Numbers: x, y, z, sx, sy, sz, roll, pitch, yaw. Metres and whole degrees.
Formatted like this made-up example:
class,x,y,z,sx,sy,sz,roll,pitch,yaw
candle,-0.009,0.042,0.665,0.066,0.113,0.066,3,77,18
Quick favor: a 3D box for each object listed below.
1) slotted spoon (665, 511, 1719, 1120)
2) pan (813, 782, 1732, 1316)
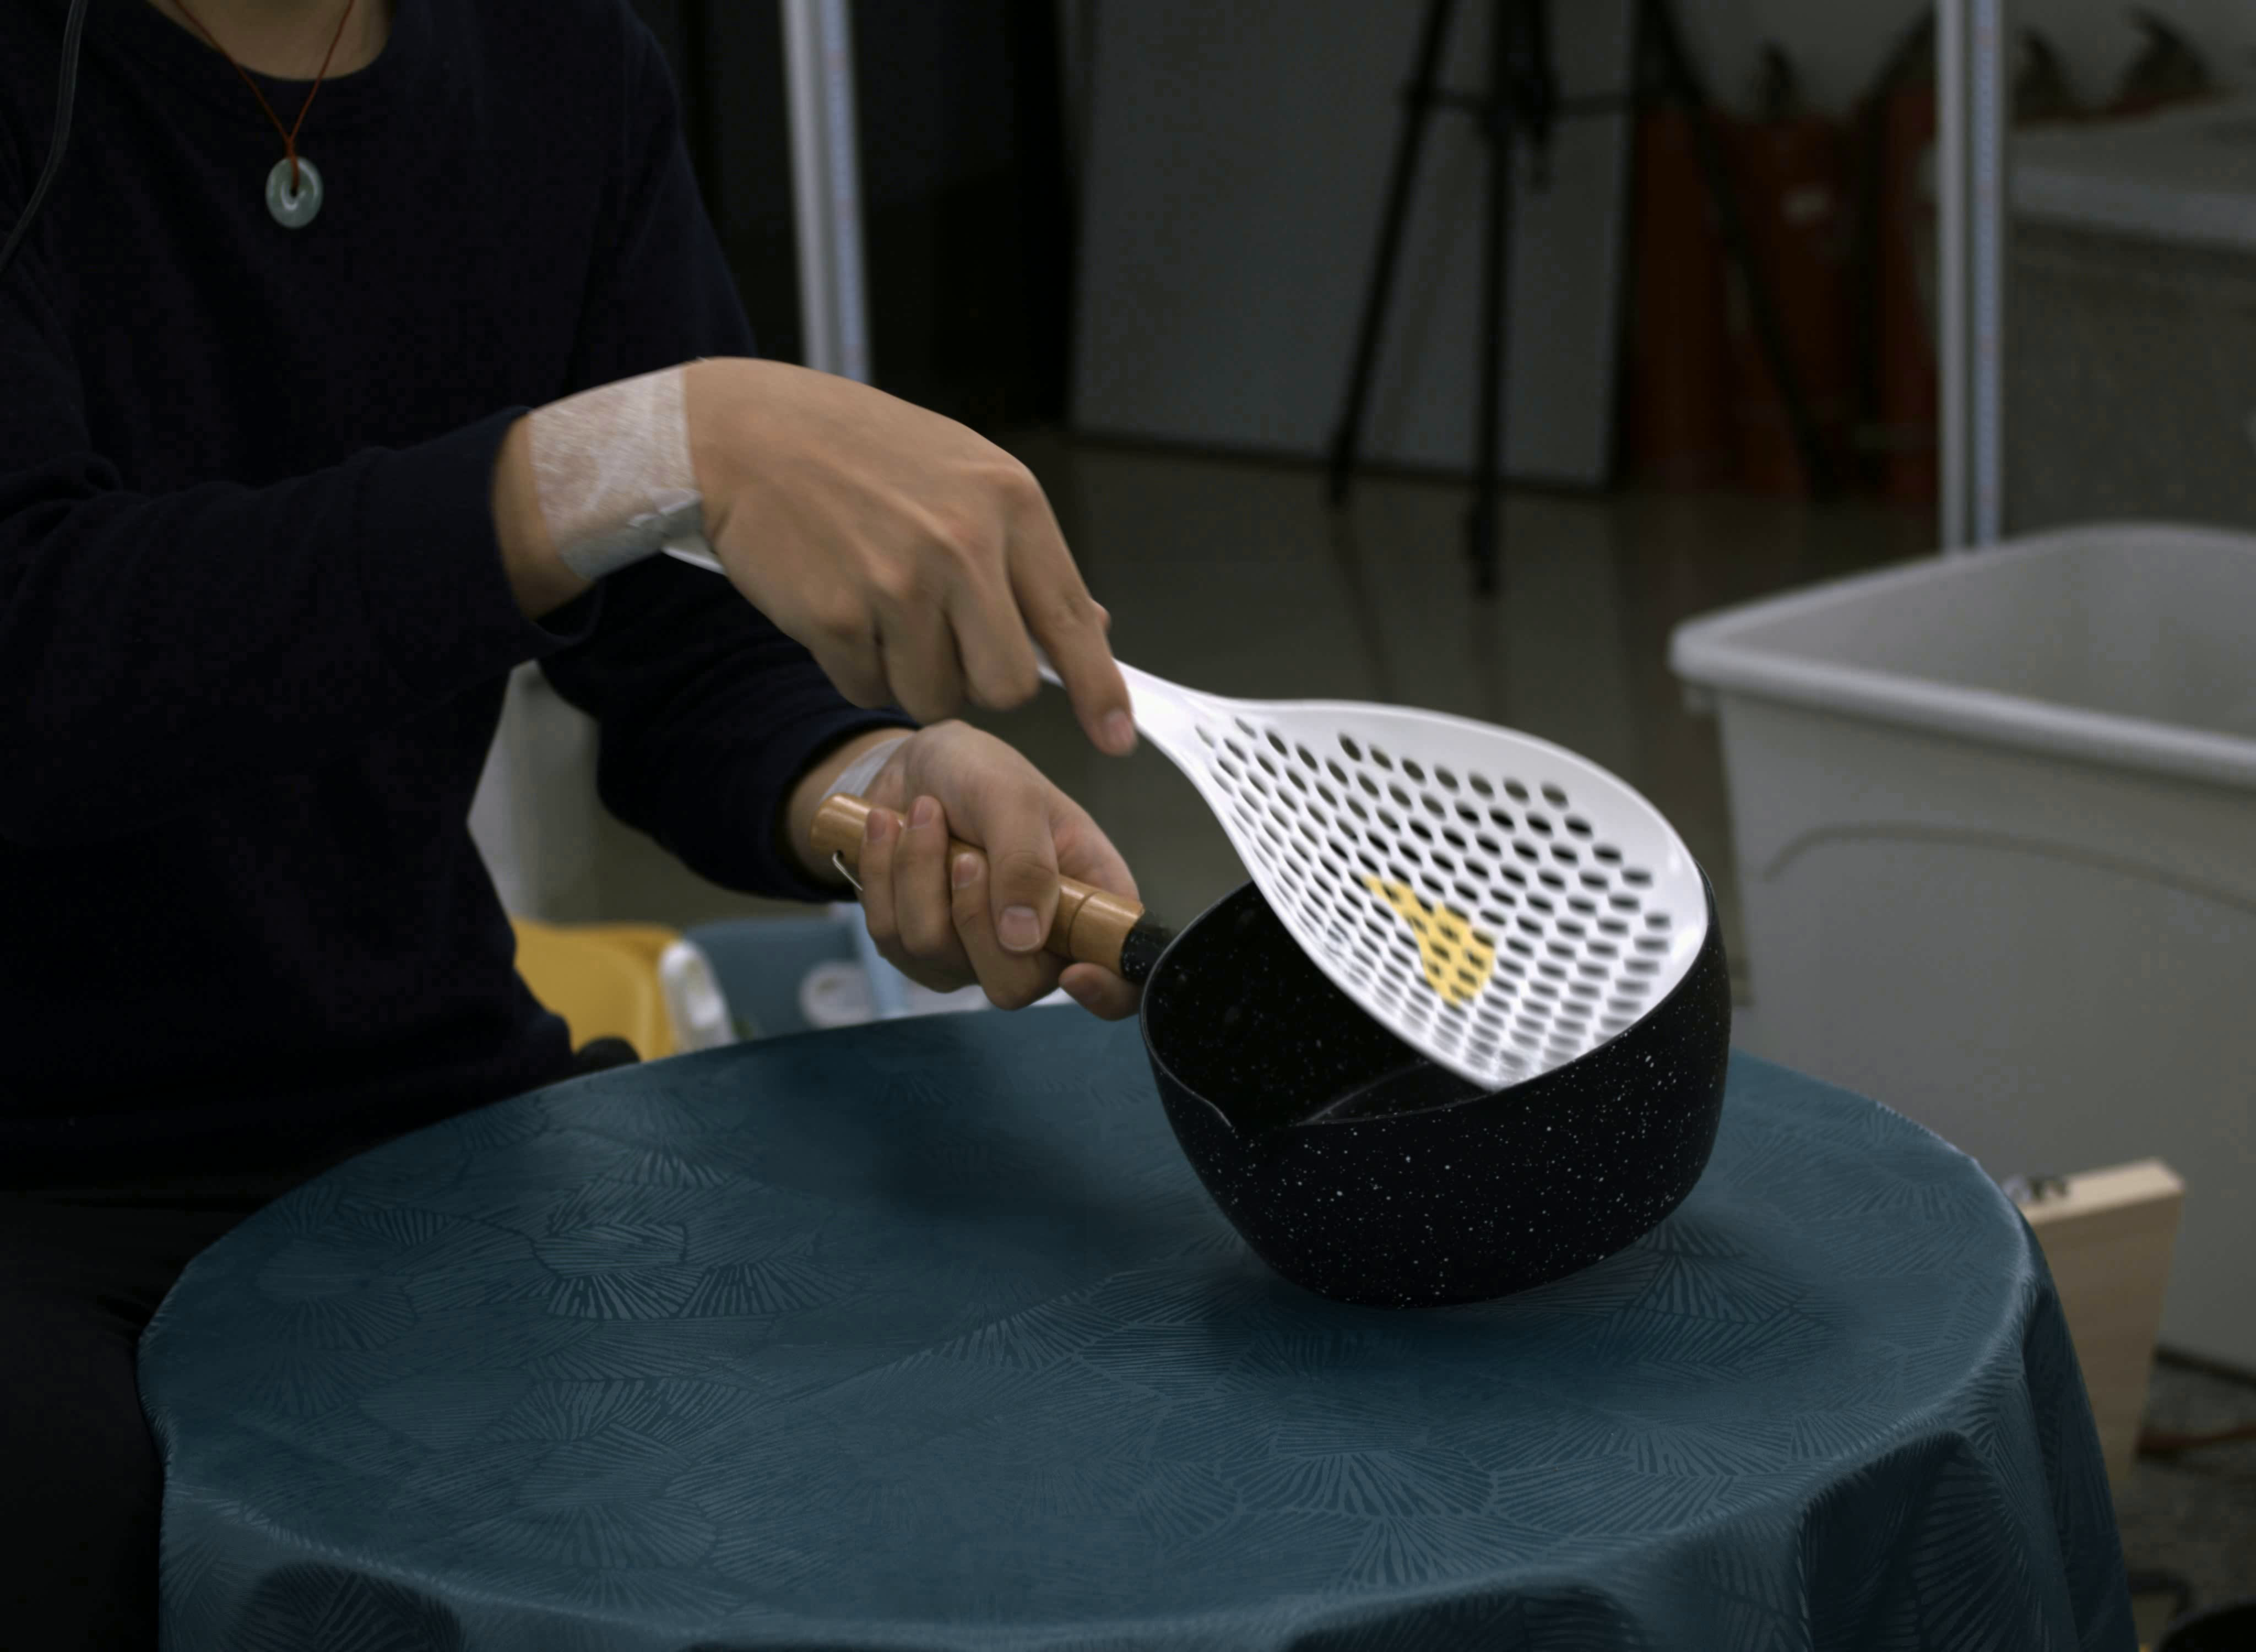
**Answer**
class,x,y,z,sx,sy,sz,roll,pitch,yaw
slotted spoon,0.020,-0.020,1.631,0.344,0.051,0.137,31,51,-7
pan,0.037,0.056,1.723,0.345,0.108,0.205,8,37,39
